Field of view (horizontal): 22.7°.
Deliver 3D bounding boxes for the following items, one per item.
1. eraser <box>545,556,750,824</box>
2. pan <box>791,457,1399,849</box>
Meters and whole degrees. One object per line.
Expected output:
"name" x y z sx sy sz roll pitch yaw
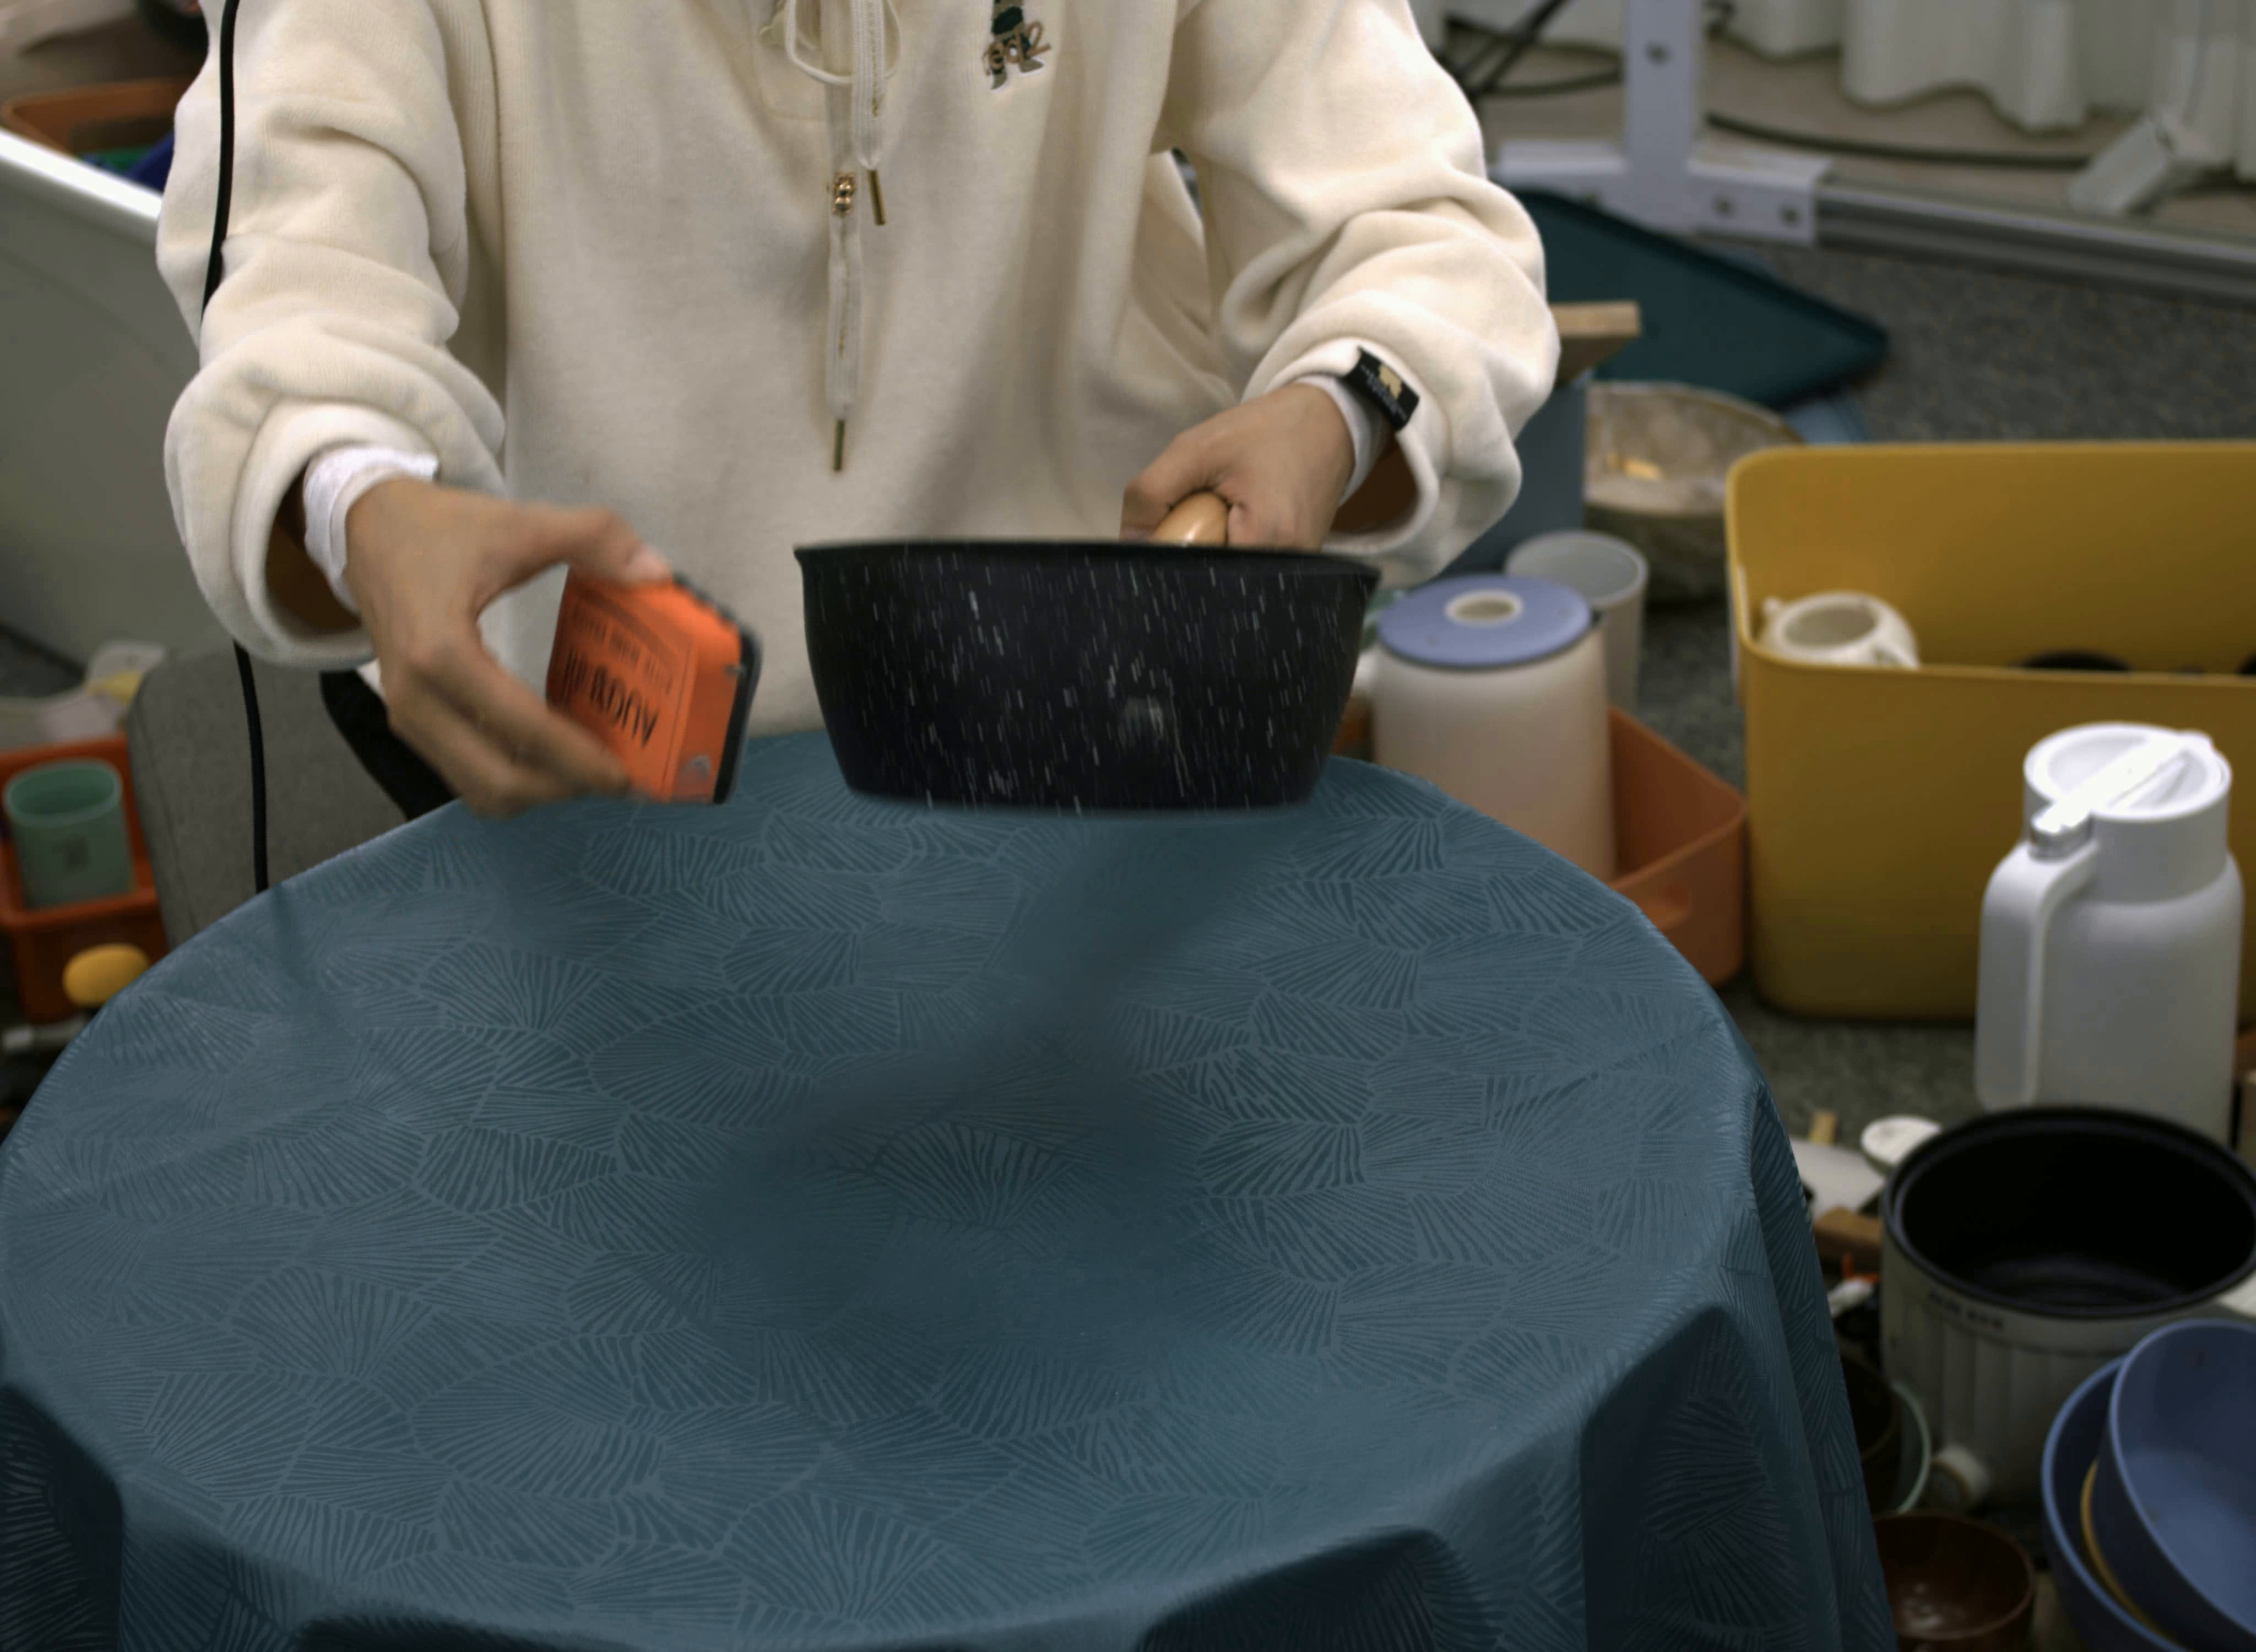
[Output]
"eraser" -0.152 -0.043 1.776 0.023 0.058 0.108 4 18 -29
"pan" 0.001 -0.063 1.932 0.206 0.108 0.345 2 7 10
